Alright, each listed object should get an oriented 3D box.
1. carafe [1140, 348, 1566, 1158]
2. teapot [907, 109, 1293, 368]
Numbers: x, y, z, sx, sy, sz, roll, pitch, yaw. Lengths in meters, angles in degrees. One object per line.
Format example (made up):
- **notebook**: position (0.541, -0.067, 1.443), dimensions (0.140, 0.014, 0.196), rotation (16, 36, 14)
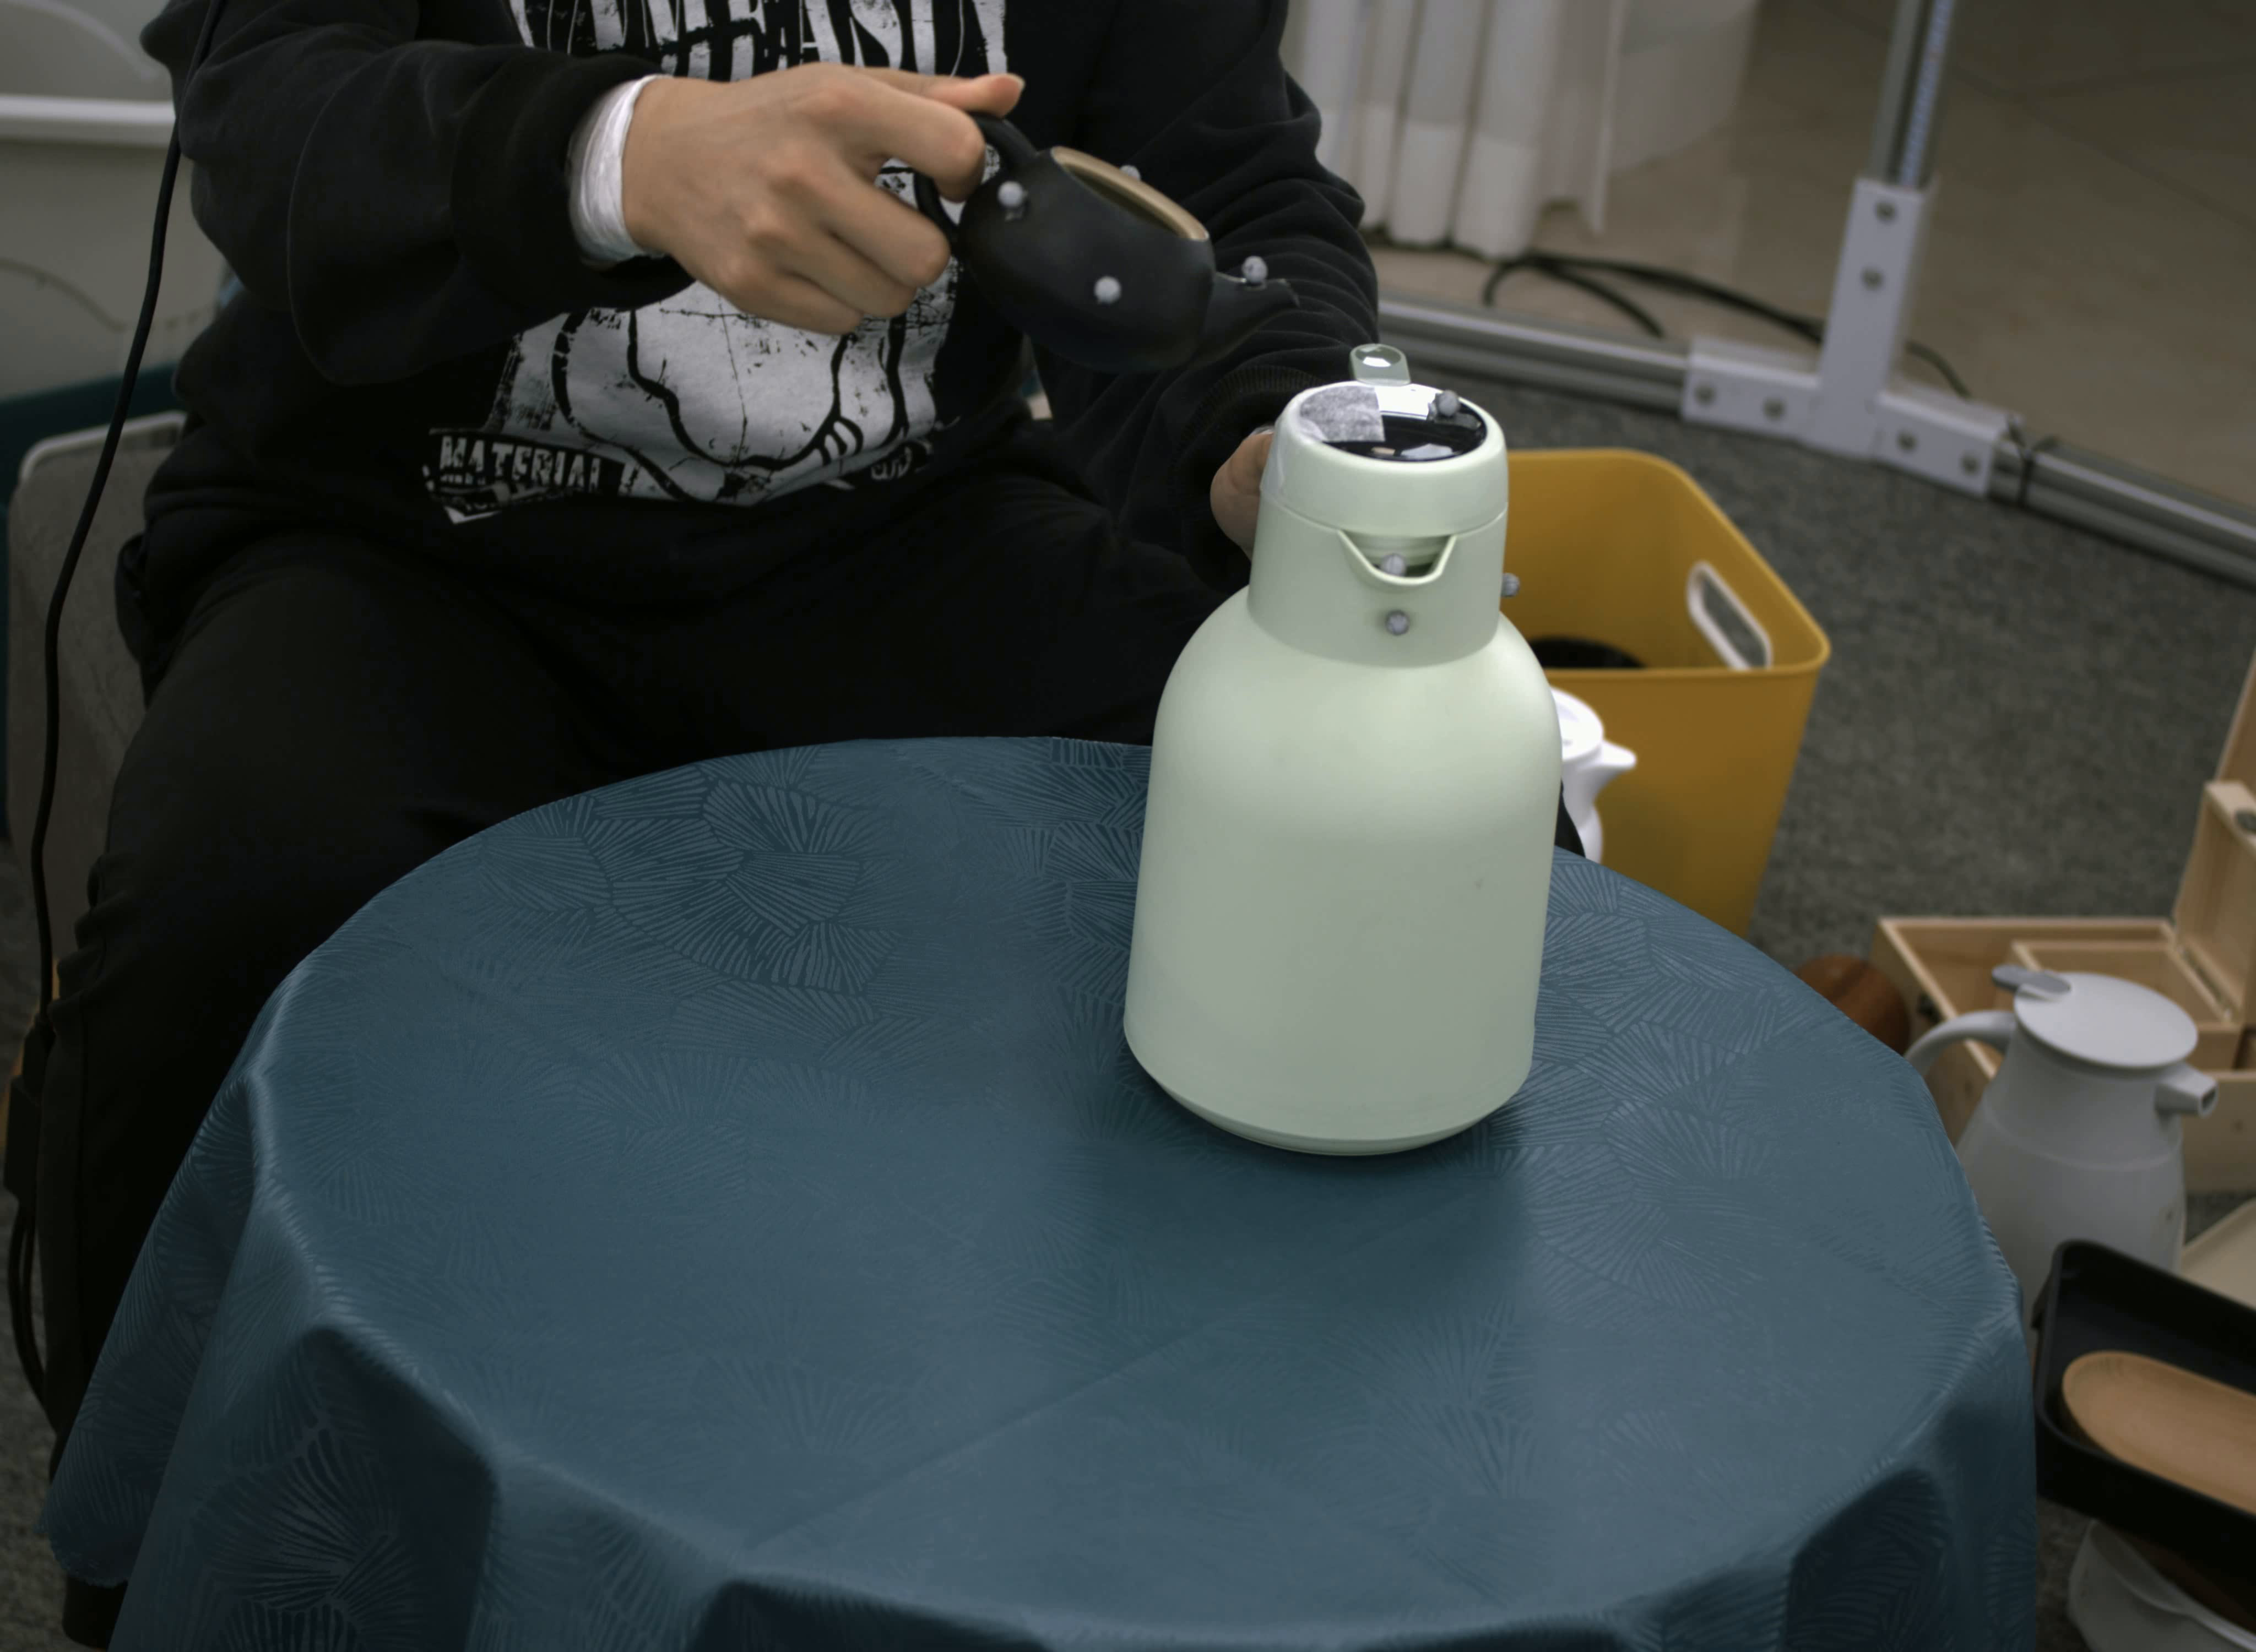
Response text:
- **carafe**: position (0.079, -0.030, 1.847), dimensions (0.144, 0.256, 0.188), rotation (1, 24, -4)
- **teapot**: position (-0.014, -0.186, 1.740), dimensions (0.133, 0.053, 0.091), rotation (29, 15, -6)
